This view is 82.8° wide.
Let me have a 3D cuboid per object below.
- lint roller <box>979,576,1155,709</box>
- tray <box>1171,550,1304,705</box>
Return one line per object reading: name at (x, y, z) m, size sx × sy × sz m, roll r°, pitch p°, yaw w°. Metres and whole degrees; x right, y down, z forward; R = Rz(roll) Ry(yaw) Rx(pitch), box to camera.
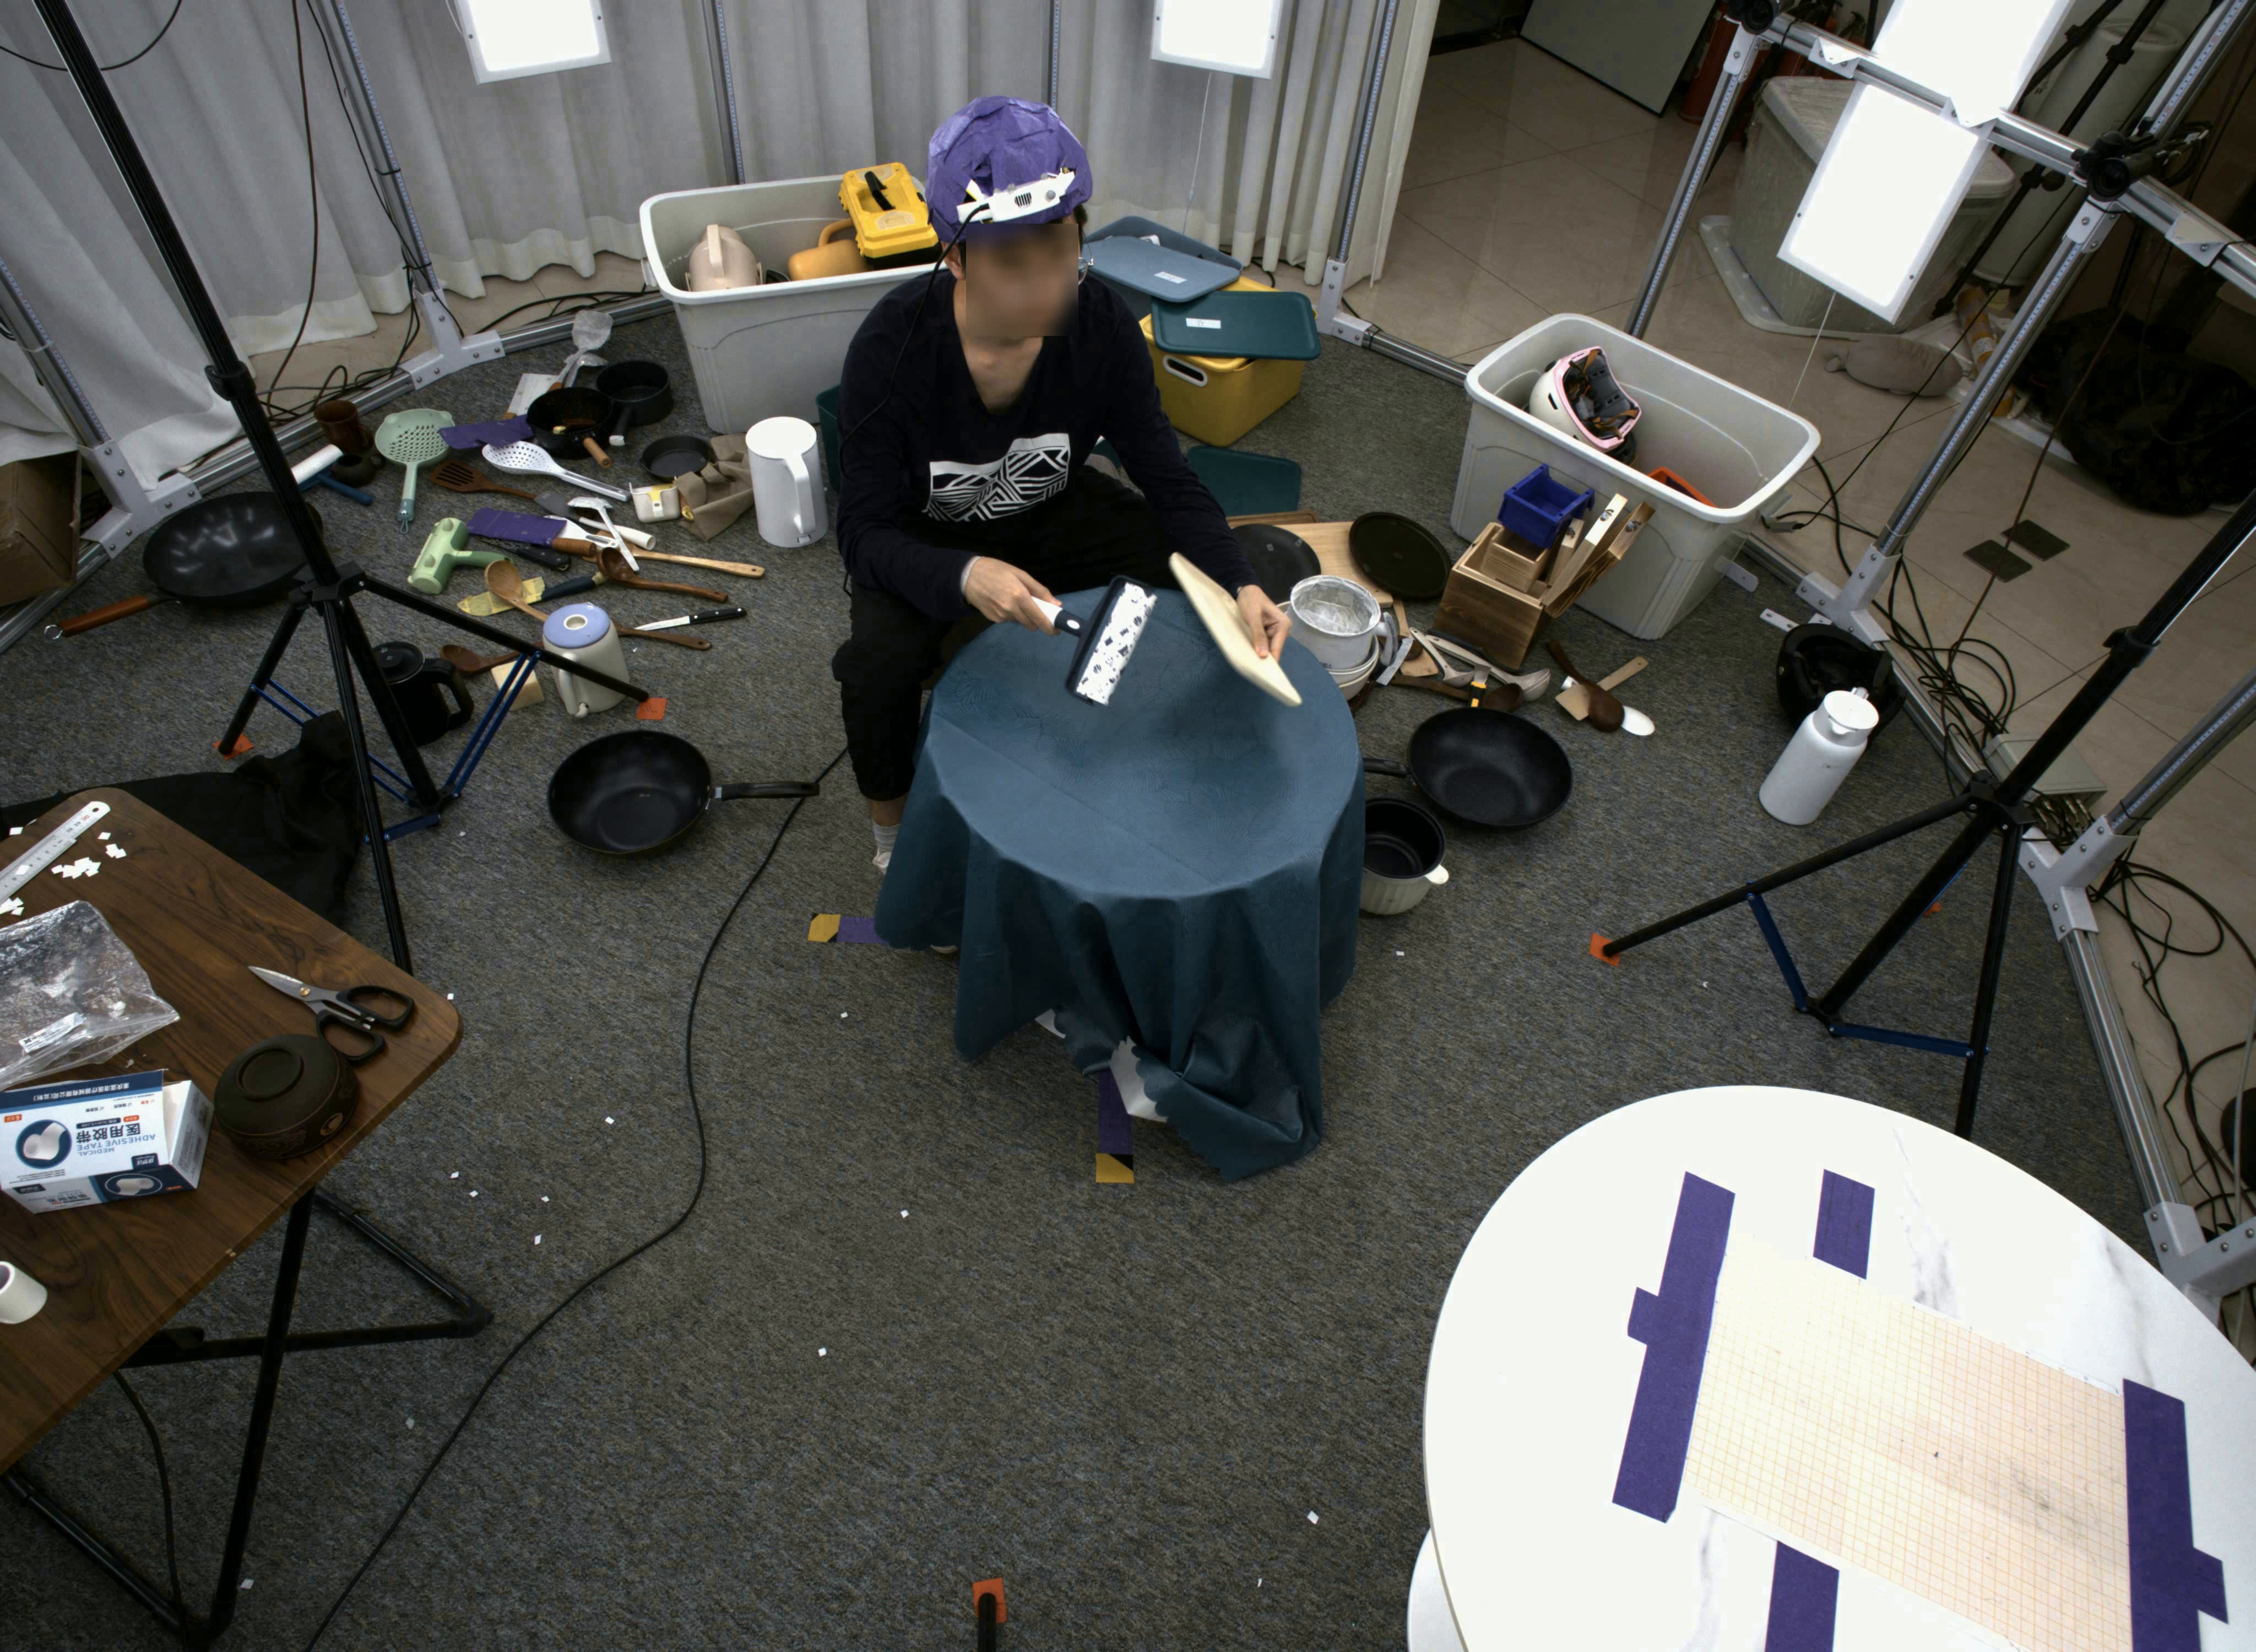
lint roller at (-0.103, -0.284, 1.751) m, size 0.249 × 0.050 × 0.176 m, roll 26°, pitch 93°, yaw 19°
tray at (0.144, -0.264, 1.724) m, size 0.017 × 0.168 × 0.245 m, roll -41°, pitch 53°, yaw 19°
